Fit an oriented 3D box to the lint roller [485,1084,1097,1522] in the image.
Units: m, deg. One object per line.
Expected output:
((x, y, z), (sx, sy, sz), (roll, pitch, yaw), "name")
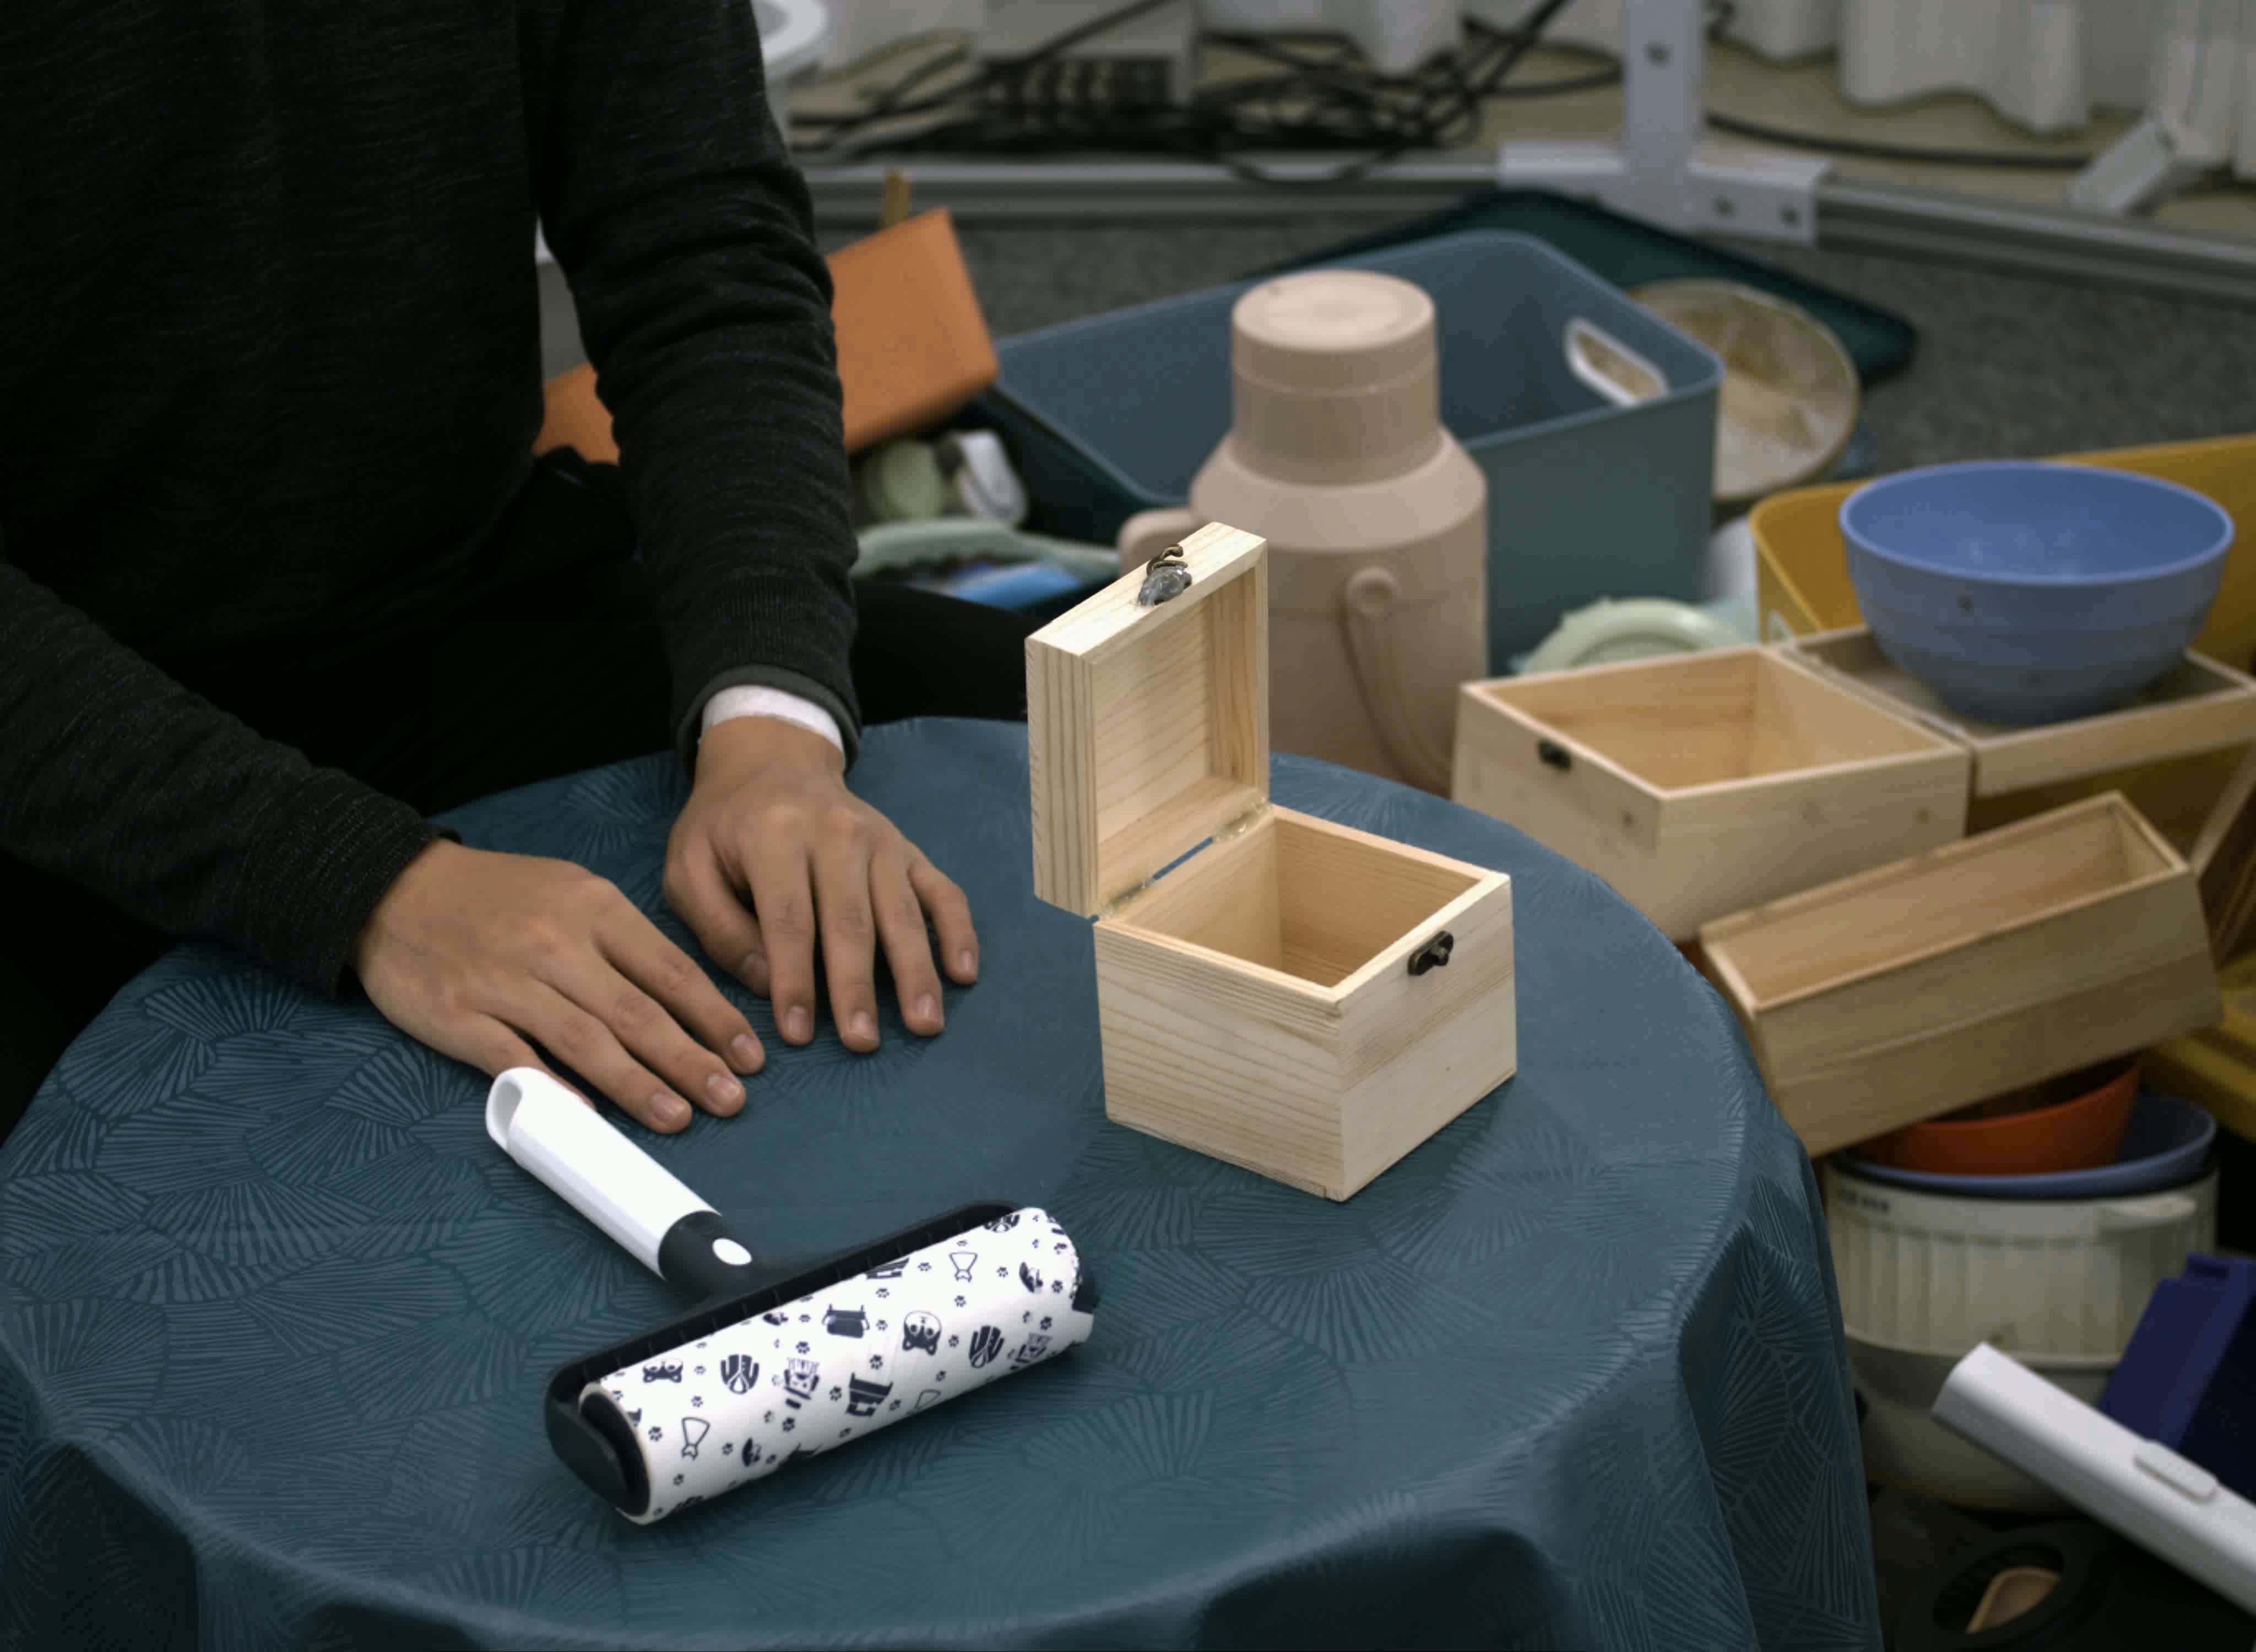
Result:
((-0.146, 0.132, 1.811), (0.178, 0.050, 0.247), (-20, 31, -28), "lint roller")

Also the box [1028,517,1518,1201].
((0.051, 0.009, 1.876), (0.133, 0.182, 0.104), (16, 32, 35), "box")
